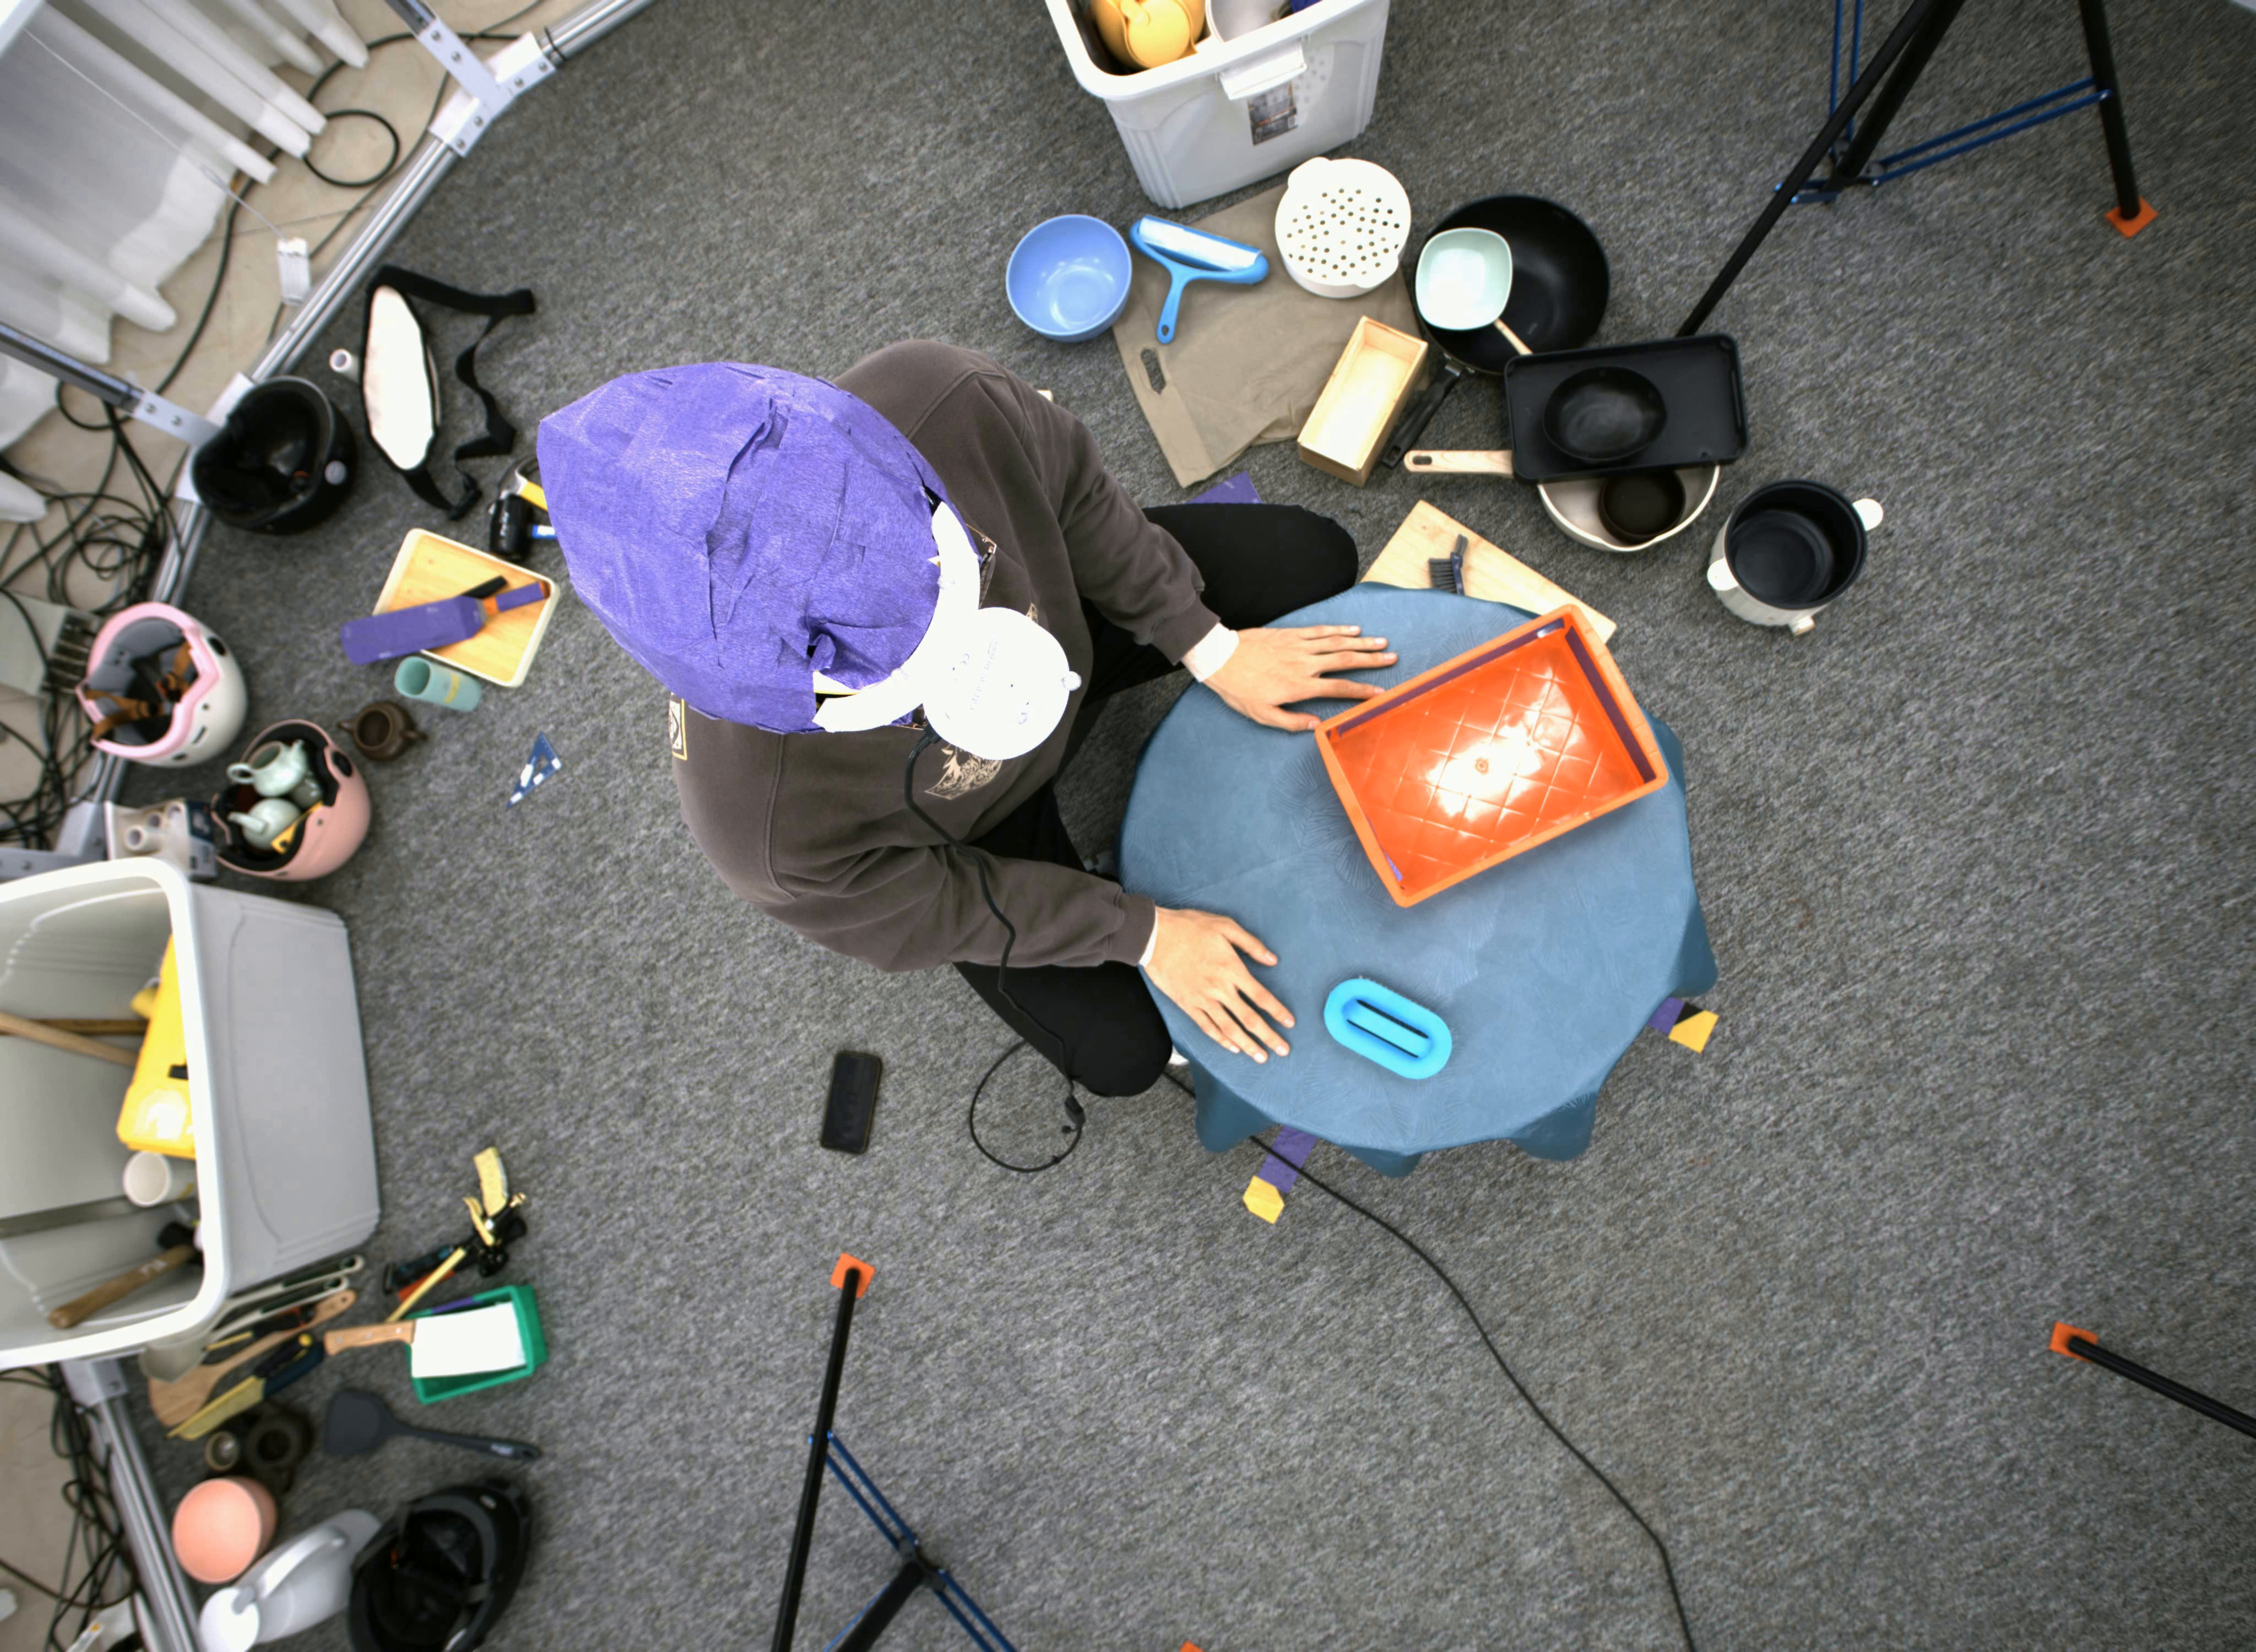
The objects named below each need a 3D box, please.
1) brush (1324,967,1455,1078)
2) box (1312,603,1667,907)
[{"bbox_3d":[0.266,0.202,1.419,0.141,0.063,0.085,29,97,12],"label":"brush"},{"bbox_3d":[0.363,-0.069,1.404,0.305,0.096,0.205,-25,83,8],"label":"box"}]
